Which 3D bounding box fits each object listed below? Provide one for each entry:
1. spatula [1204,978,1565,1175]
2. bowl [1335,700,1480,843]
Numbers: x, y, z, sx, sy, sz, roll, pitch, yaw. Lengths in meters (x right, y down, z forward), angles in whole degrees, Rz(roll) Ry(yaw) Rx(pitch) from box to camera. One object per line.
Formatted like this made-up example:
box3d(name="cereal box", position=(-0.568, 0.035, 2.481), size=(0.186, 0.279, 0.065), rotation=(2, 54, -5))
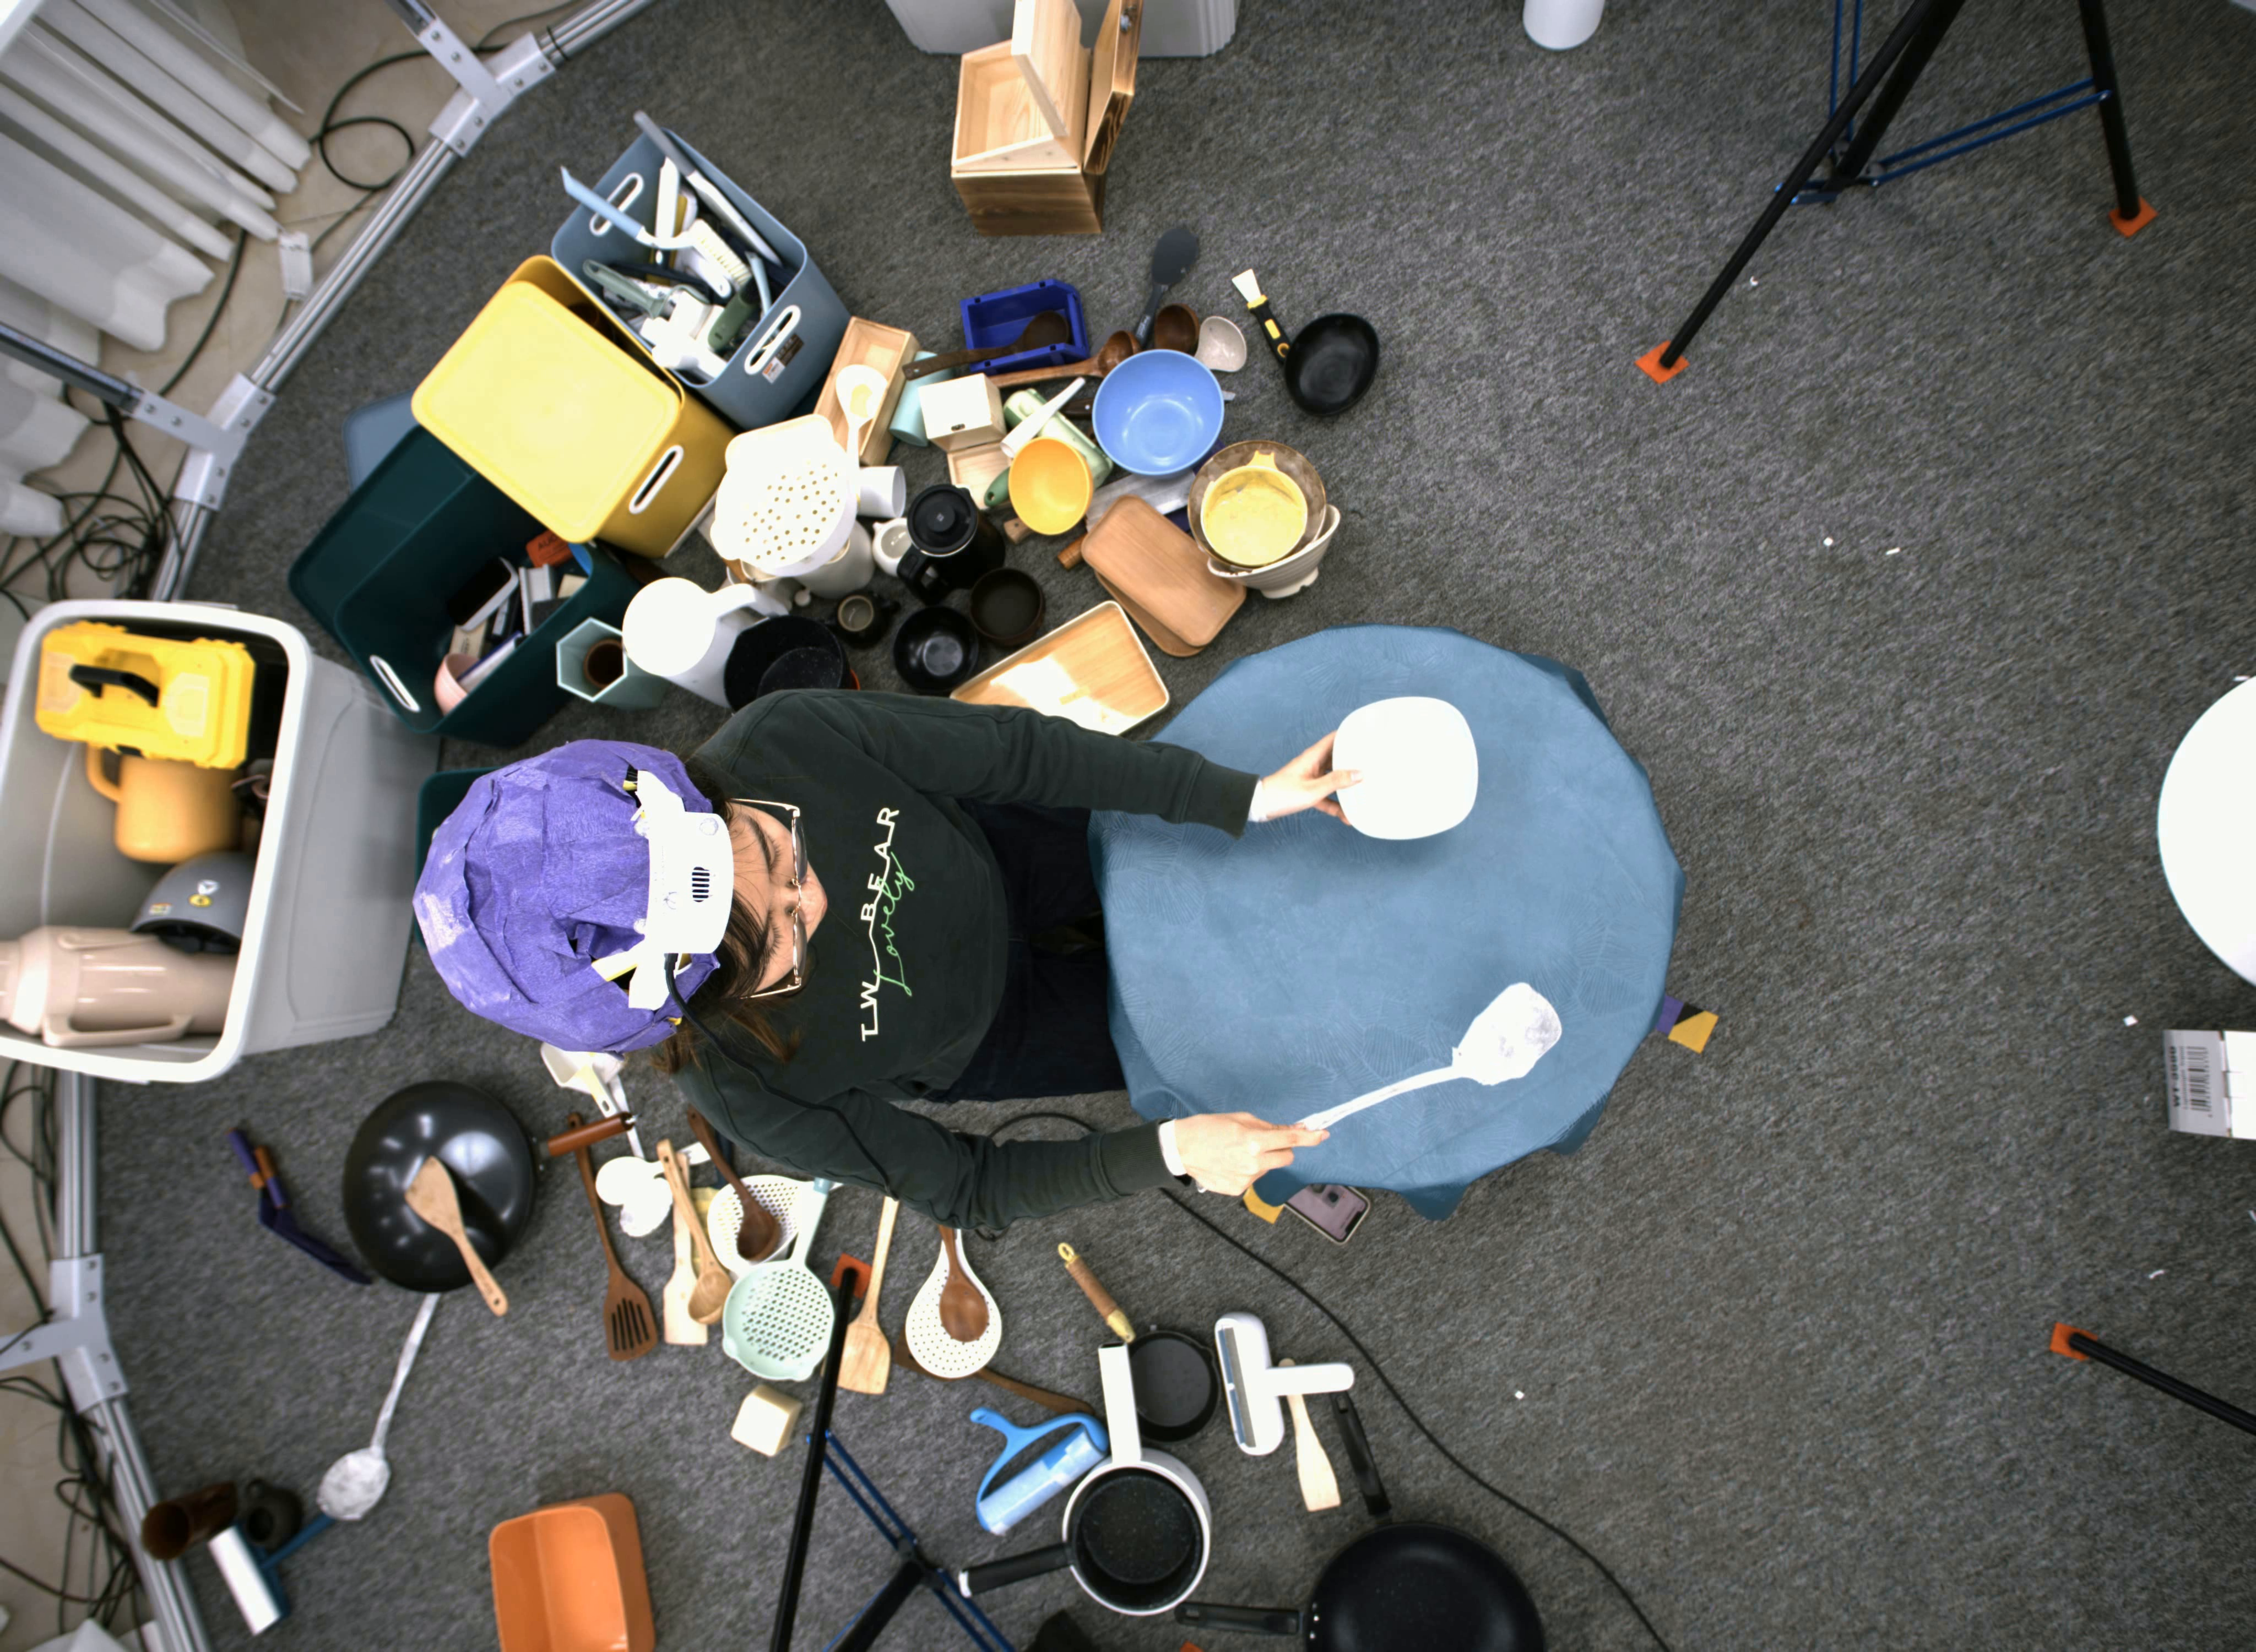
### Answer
box3d(name="spatula", position=(0.236, 0.246, 1.301), size=(0.365, 0.097, 0.045), rotation=(-23, 122, 1))
box3d(name="bowl", position=(0.277, -0.057, 1.370), size=(0.152, 0.058, 0.152), rotation=(2, 99, 10))
